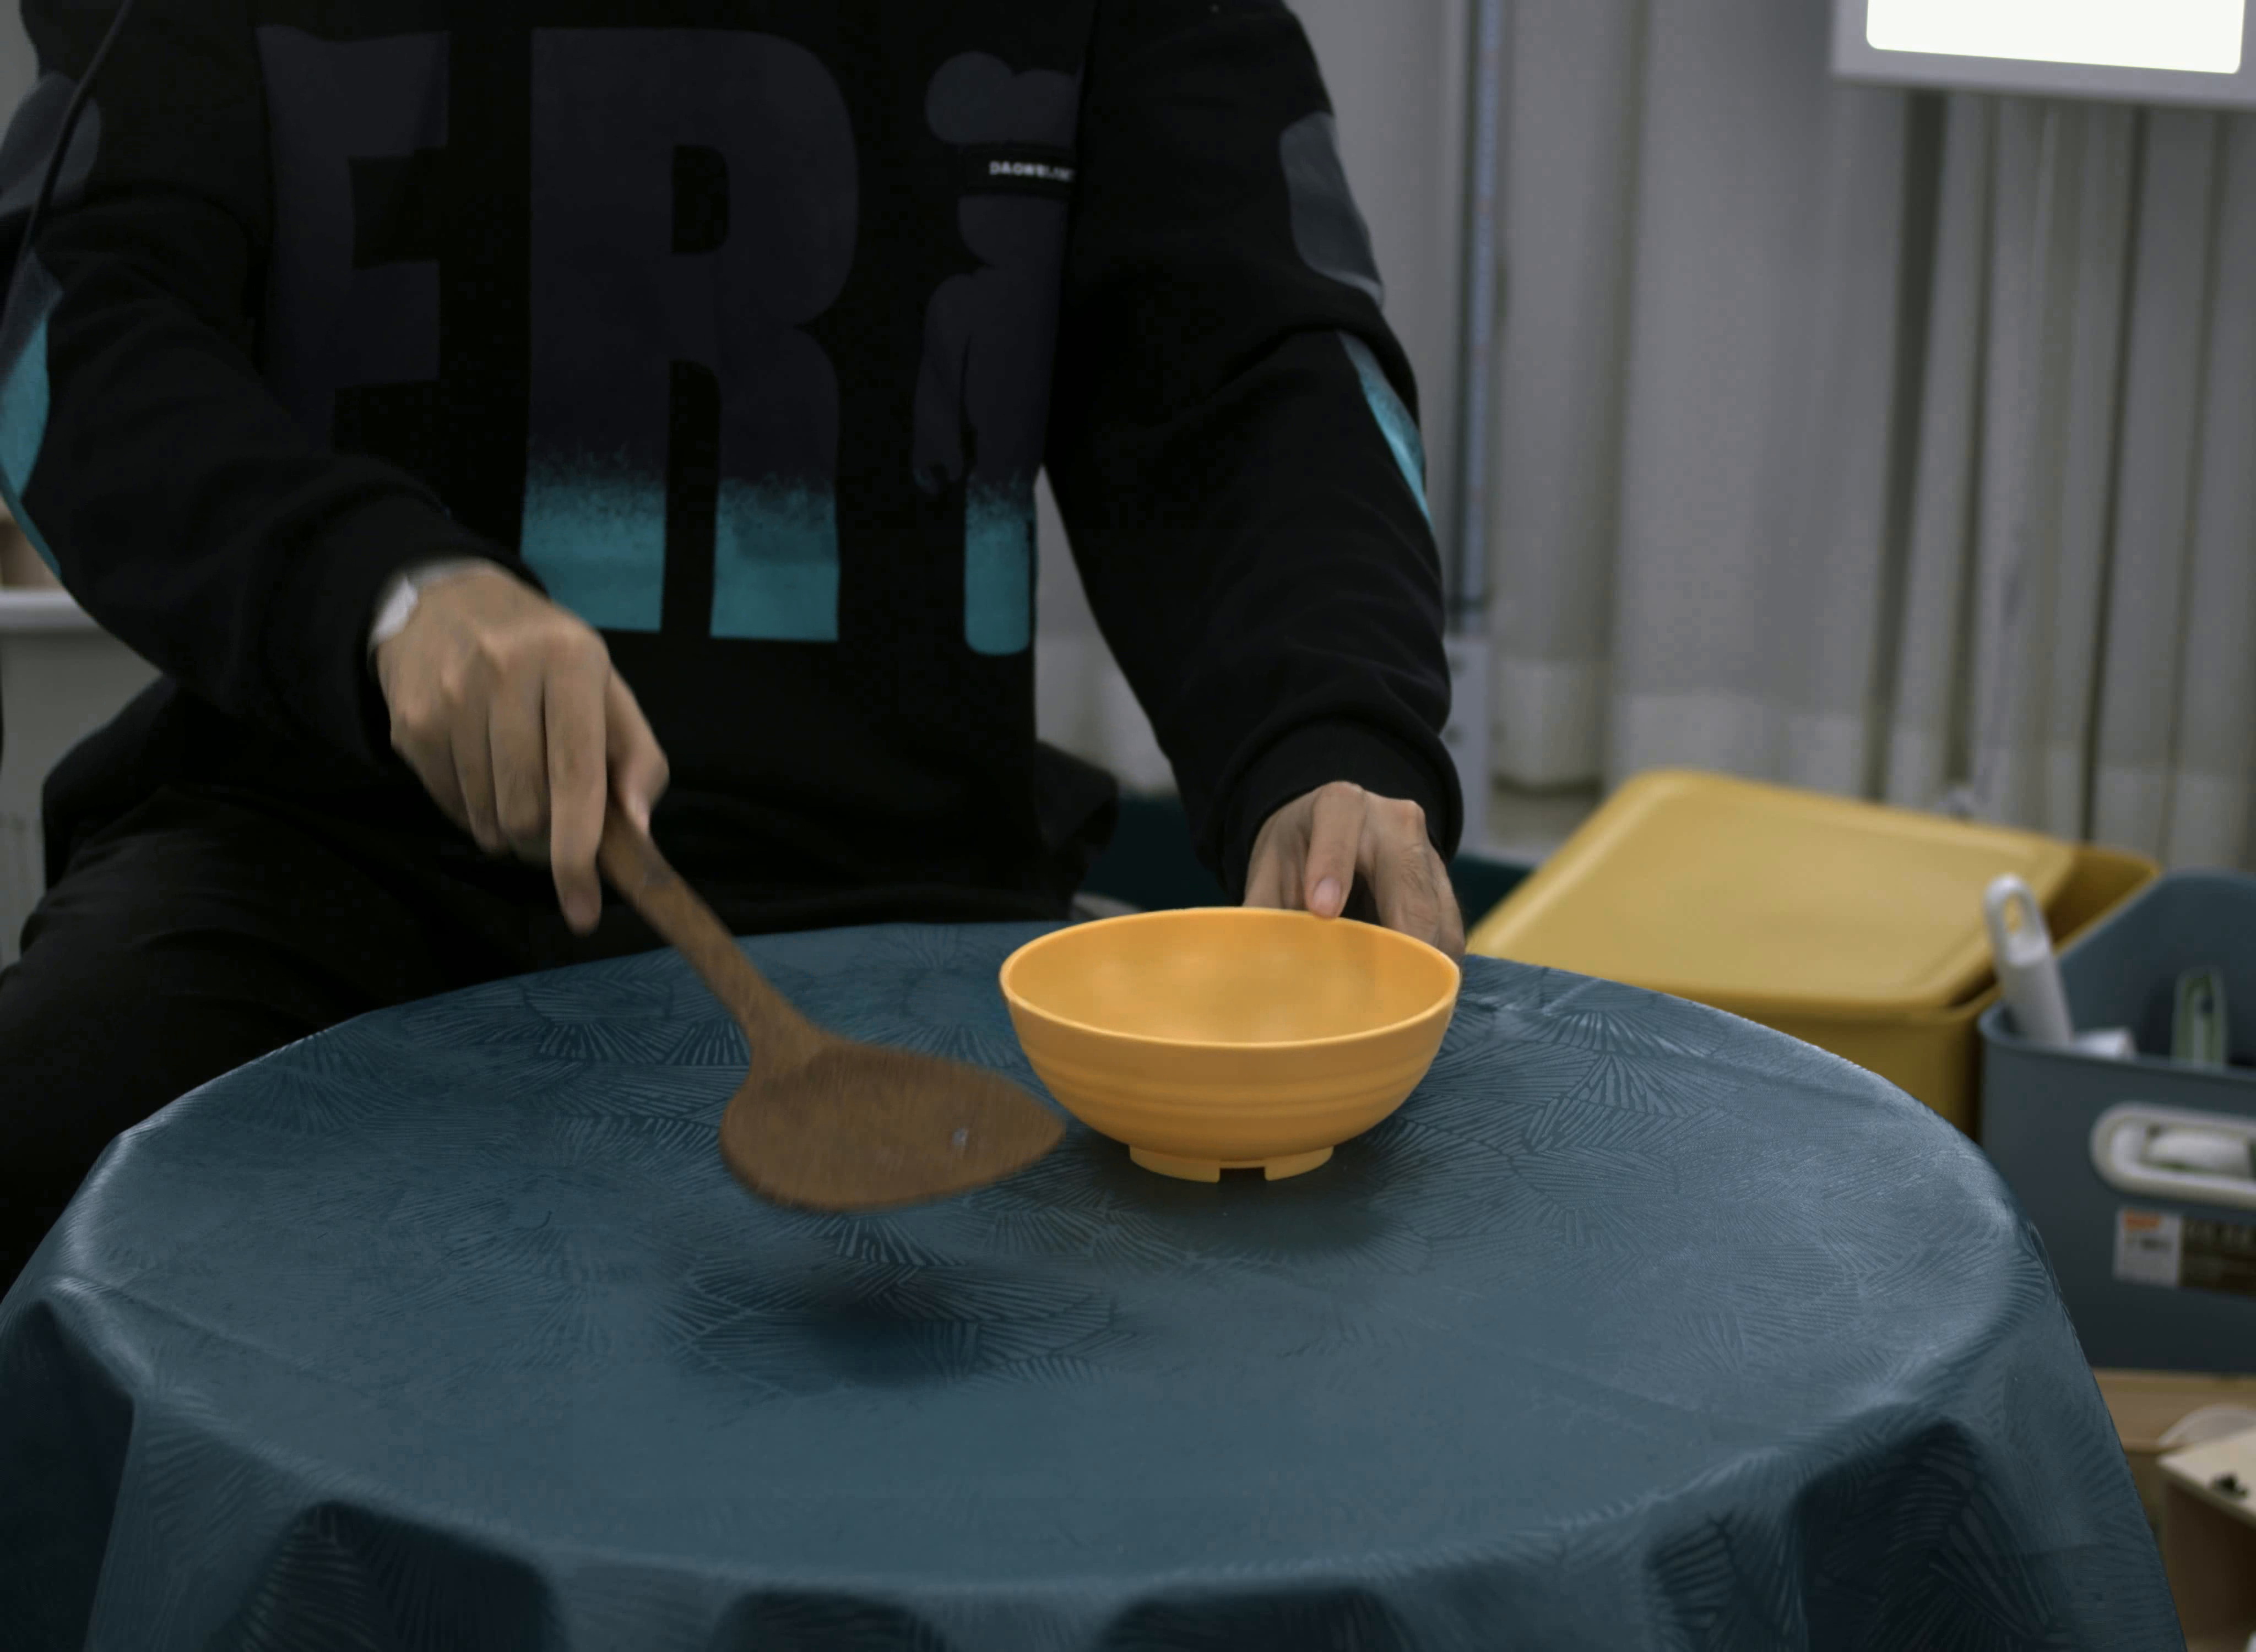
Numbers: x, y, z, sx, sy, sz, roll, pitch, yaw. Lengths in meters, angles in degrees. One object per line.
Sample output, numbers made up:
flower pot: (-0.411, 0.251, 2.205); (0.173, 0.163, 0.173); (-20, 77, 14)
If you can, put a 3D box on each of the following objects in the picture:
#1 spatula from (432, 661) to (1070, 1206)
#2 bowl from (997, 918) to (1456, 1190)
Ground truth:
spatula: (-0.139, 0.024, 1.635); (0.096, 0.016, 0.380); (-13, 31, -25)
bowl: (0.030, 0.076, 1.656); (0.145, 0.060, 0.144); (3, 14, 0)
